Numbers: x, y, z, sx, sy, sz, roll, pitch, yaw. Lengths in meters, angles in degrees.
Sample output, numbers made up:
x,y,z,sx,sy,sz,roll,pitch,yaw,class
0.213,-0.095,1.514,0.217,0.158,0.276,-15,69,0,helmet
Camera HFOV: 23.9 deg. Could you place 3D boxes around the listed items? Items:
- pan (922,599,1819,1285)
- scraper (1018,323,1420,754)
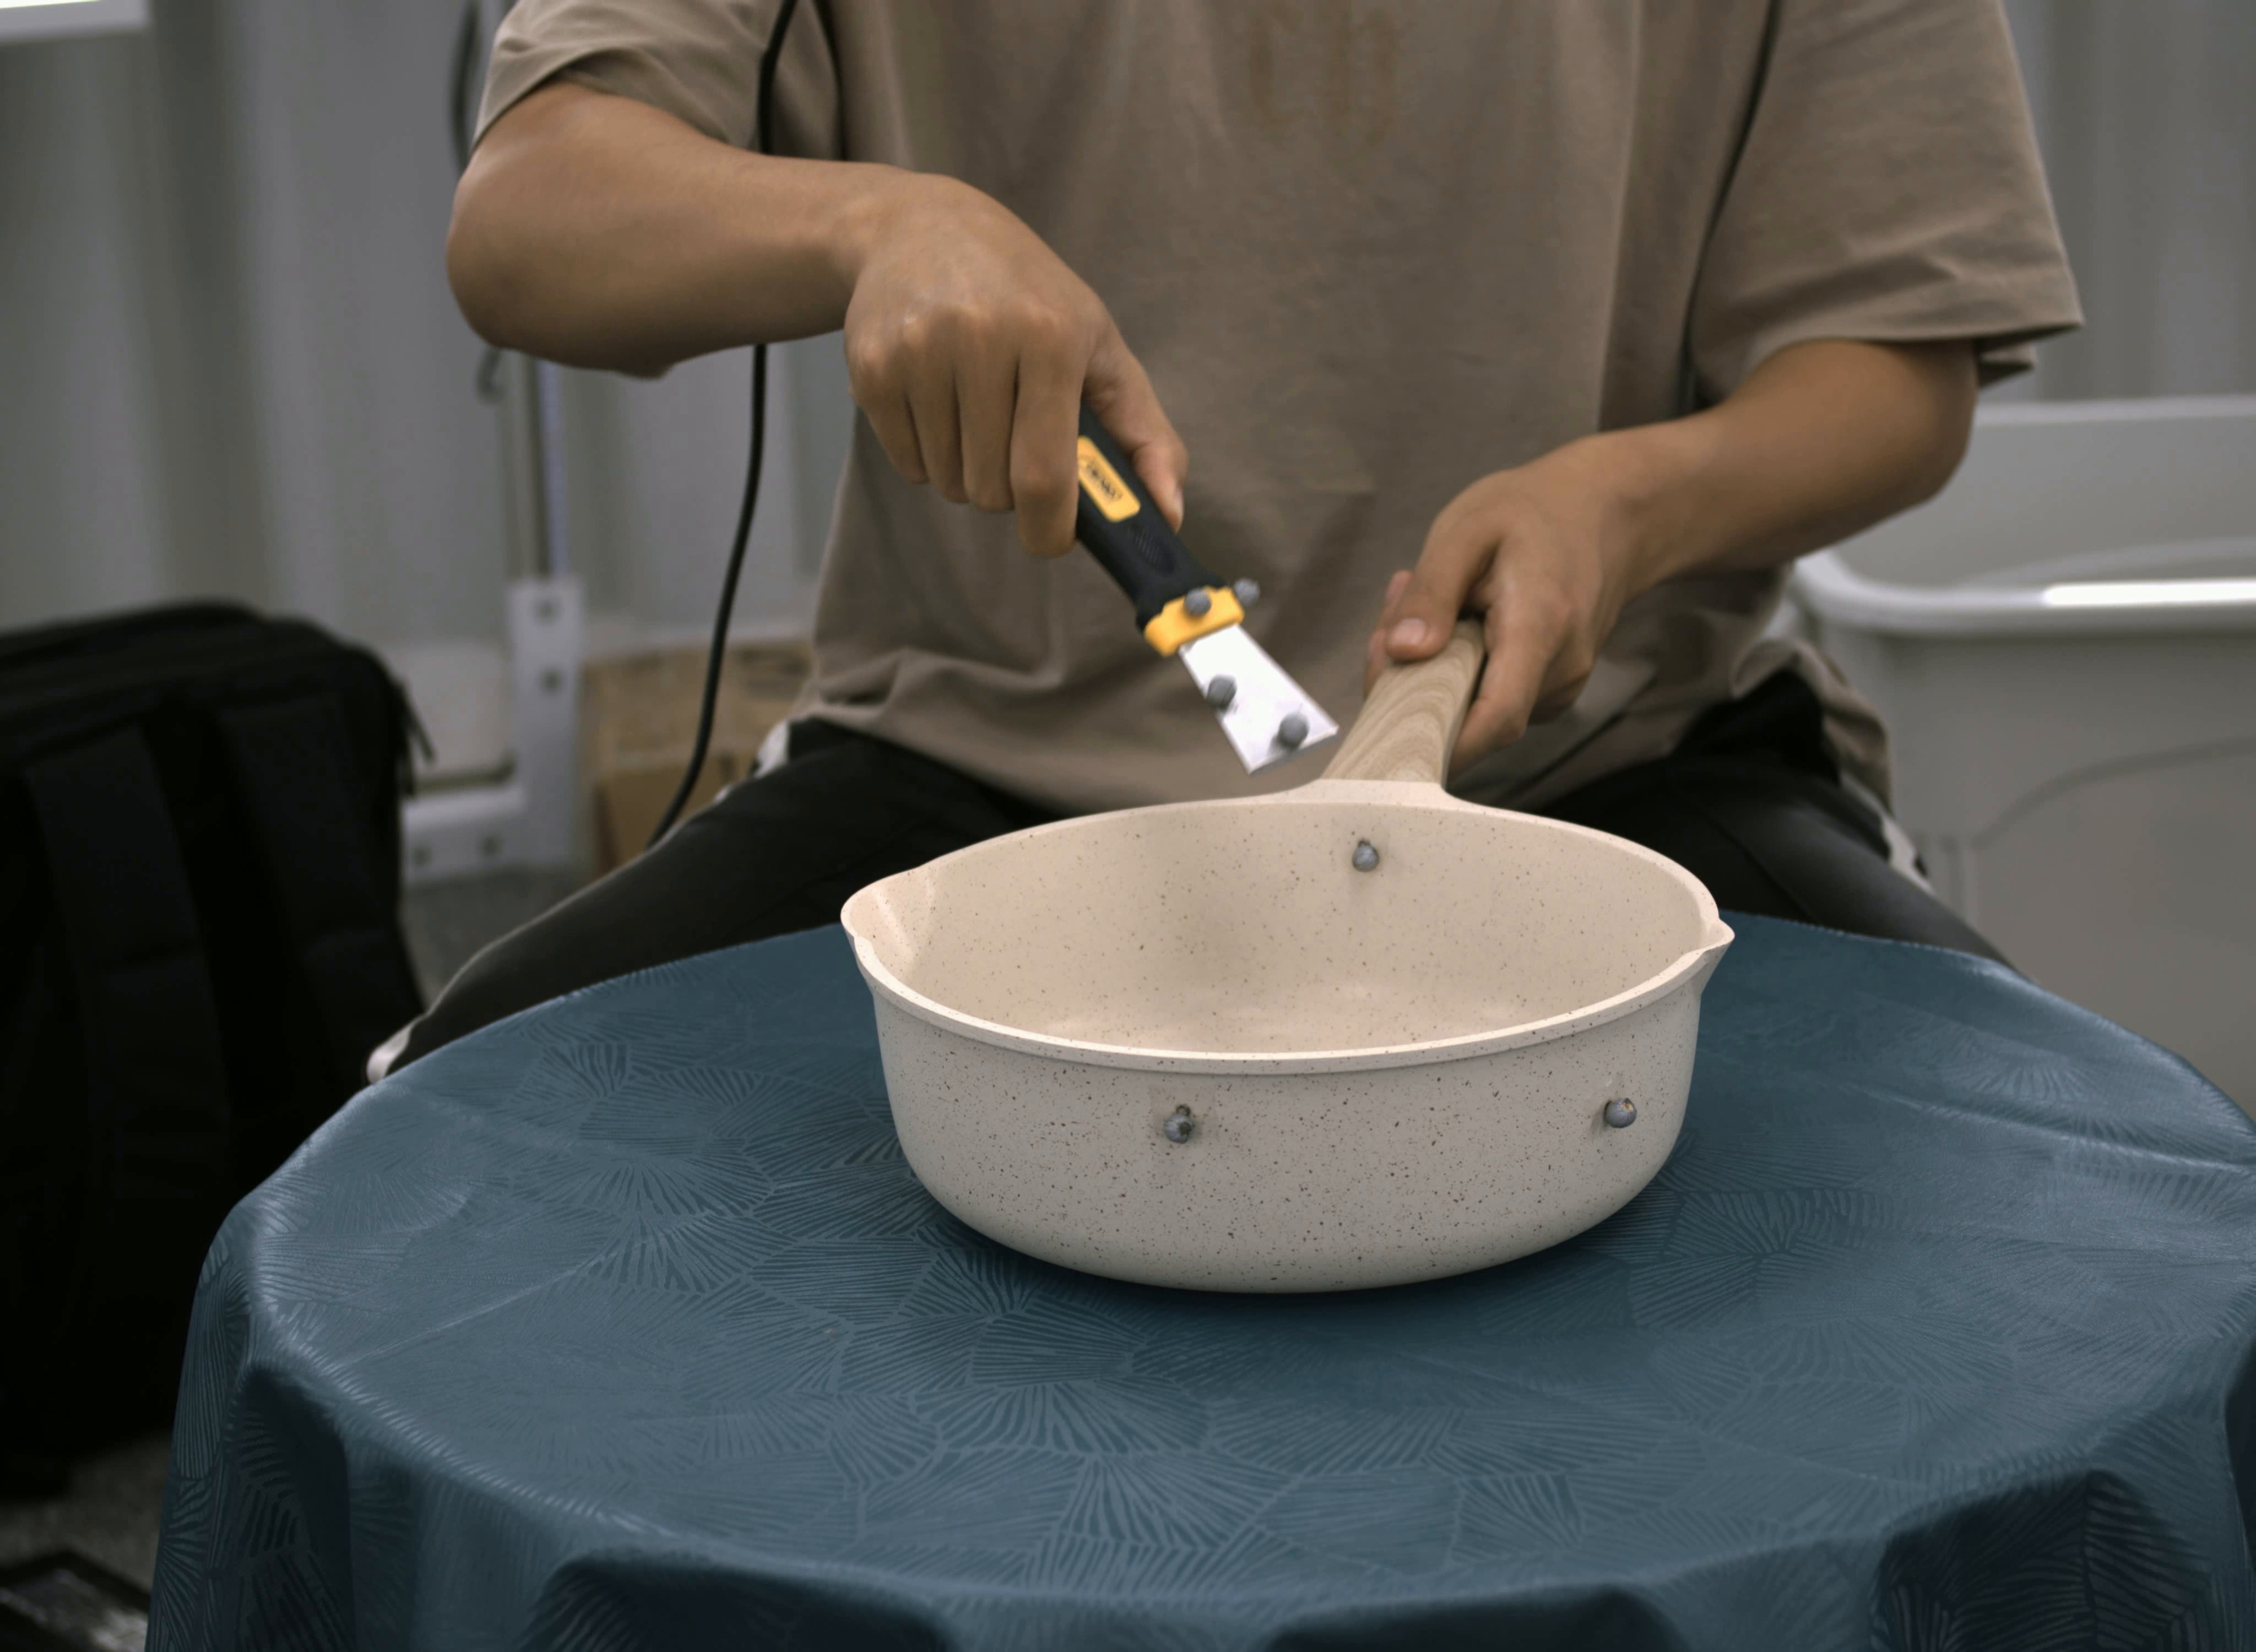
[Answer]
x,y,z,sx,sy,sz,roll,pitch,yaw,class
0.091,0.031,1.629,0.265,0.102,0.432,-1,16,14,pan
0.023,-0.088,1.602,0.038,0.015,0.174,-29,64,-22,scraper
